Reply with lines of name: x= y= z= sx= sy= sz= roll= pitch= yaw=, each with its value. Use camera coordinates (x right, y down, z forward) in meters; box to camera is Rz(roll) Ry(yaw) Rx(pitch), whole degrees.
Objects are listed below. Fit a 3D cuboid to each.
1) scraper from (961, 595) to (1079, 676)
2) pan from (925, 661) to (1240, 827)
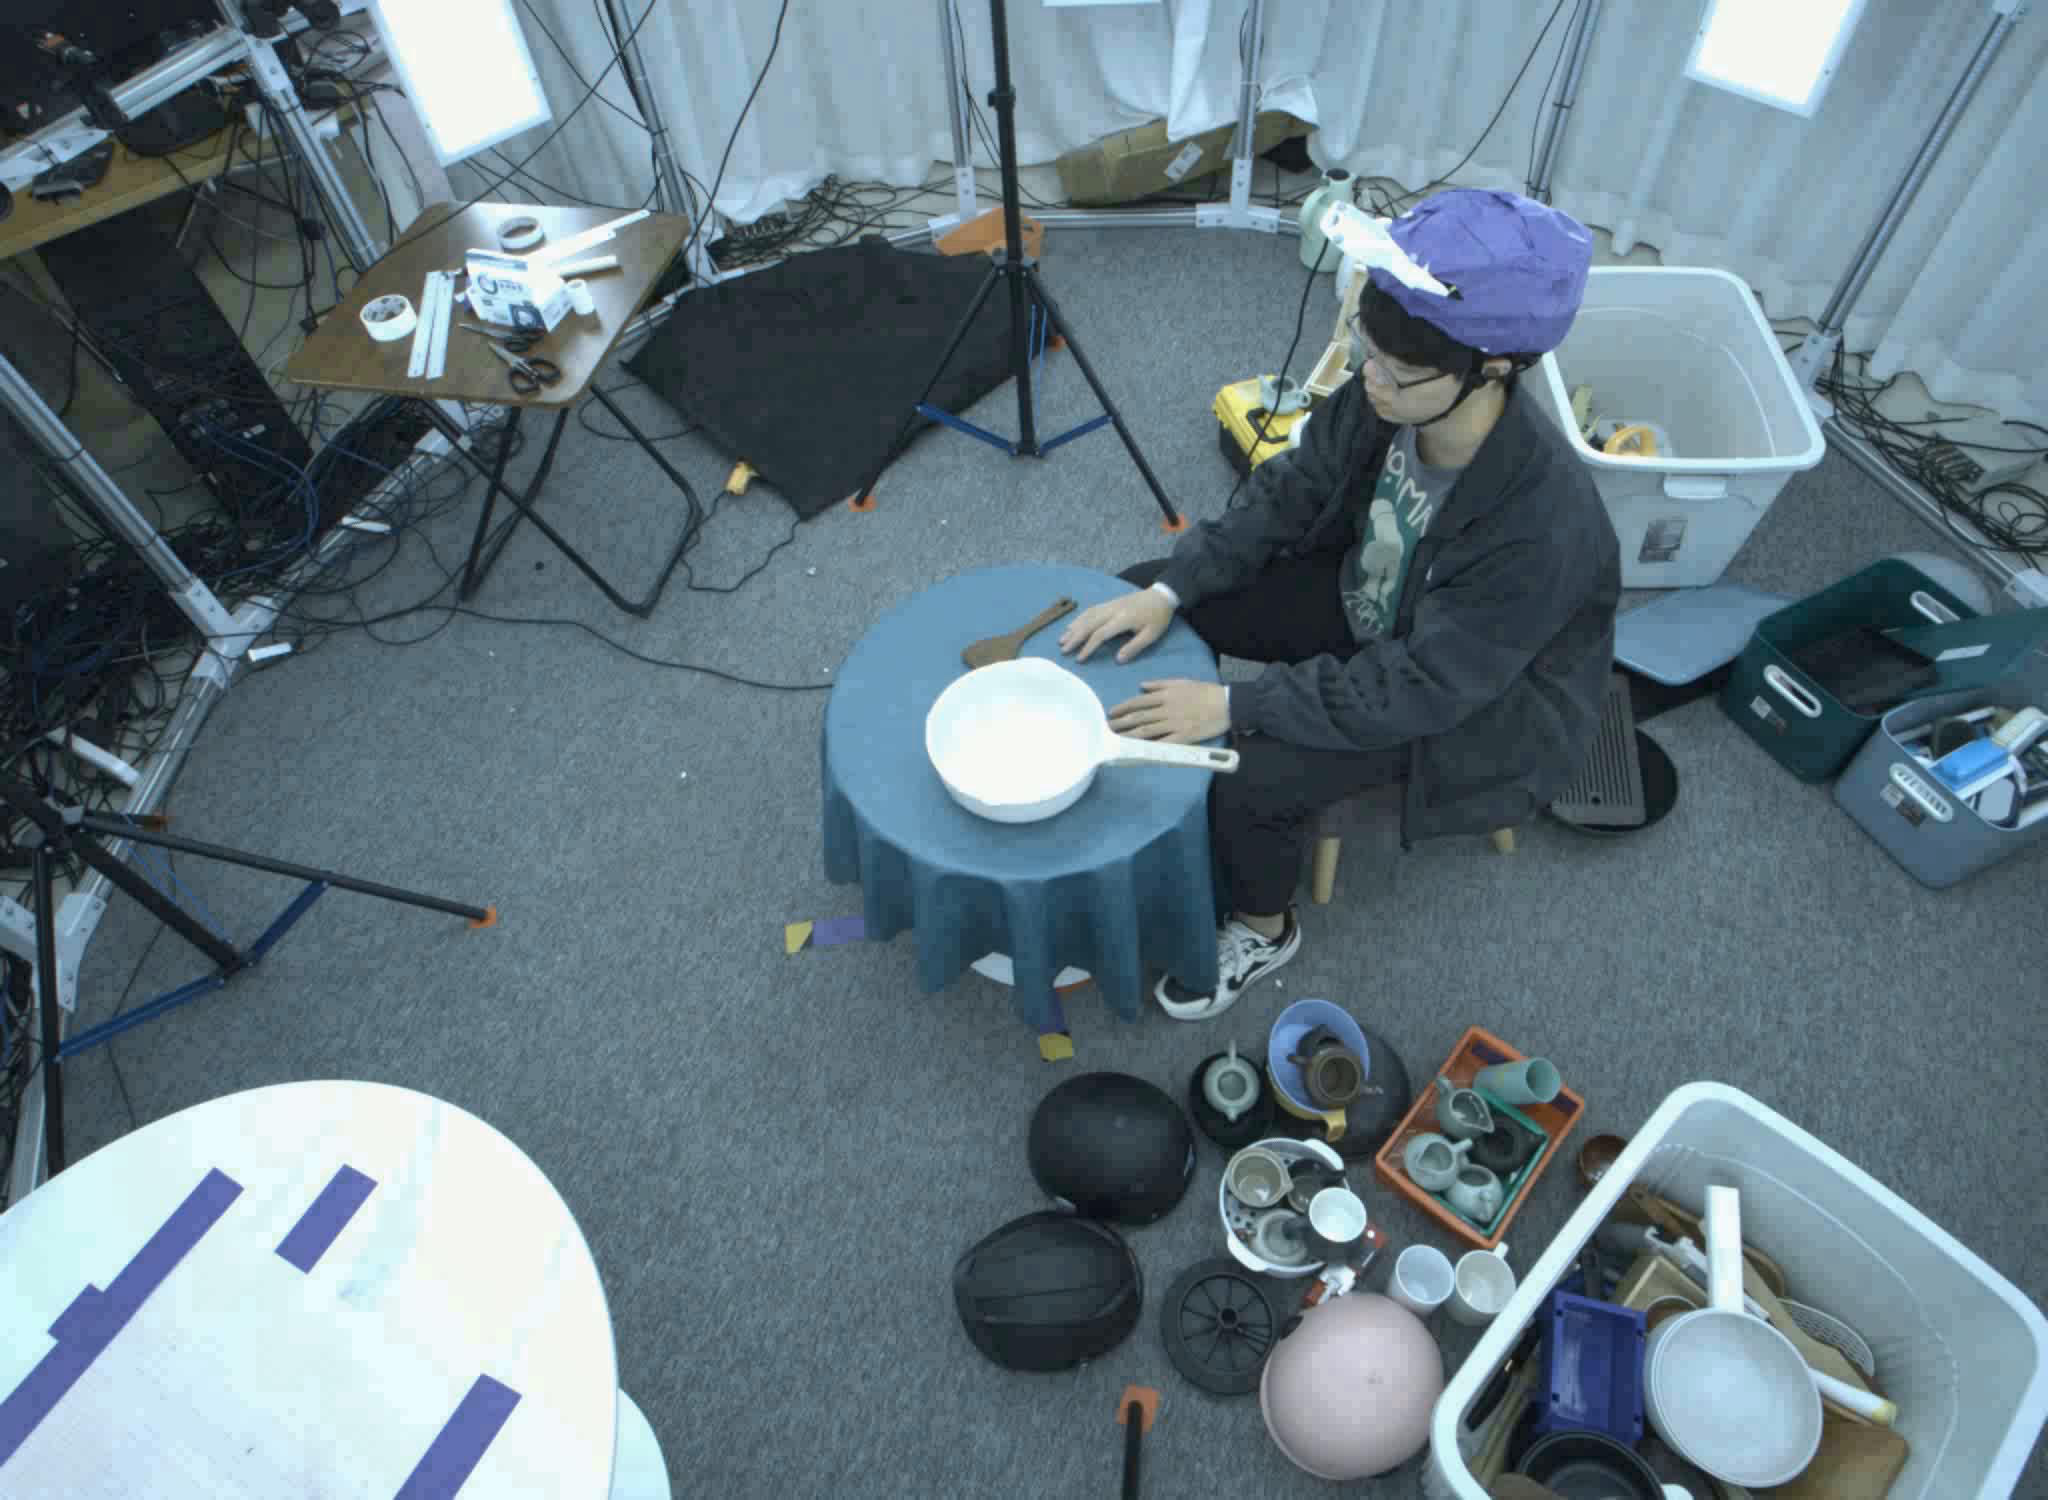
scraper: x=0.001 y=-0.183 z=1.905 sx=0.213 sy=0.011 sz=0.074 roll=-36 pitch=61 yaw=-22
pan: x=0.079 y=0.010 z=1.709 sx=0.432 sy=0.103 sz=0.262 roll=10 pitch=54 yaw=9
